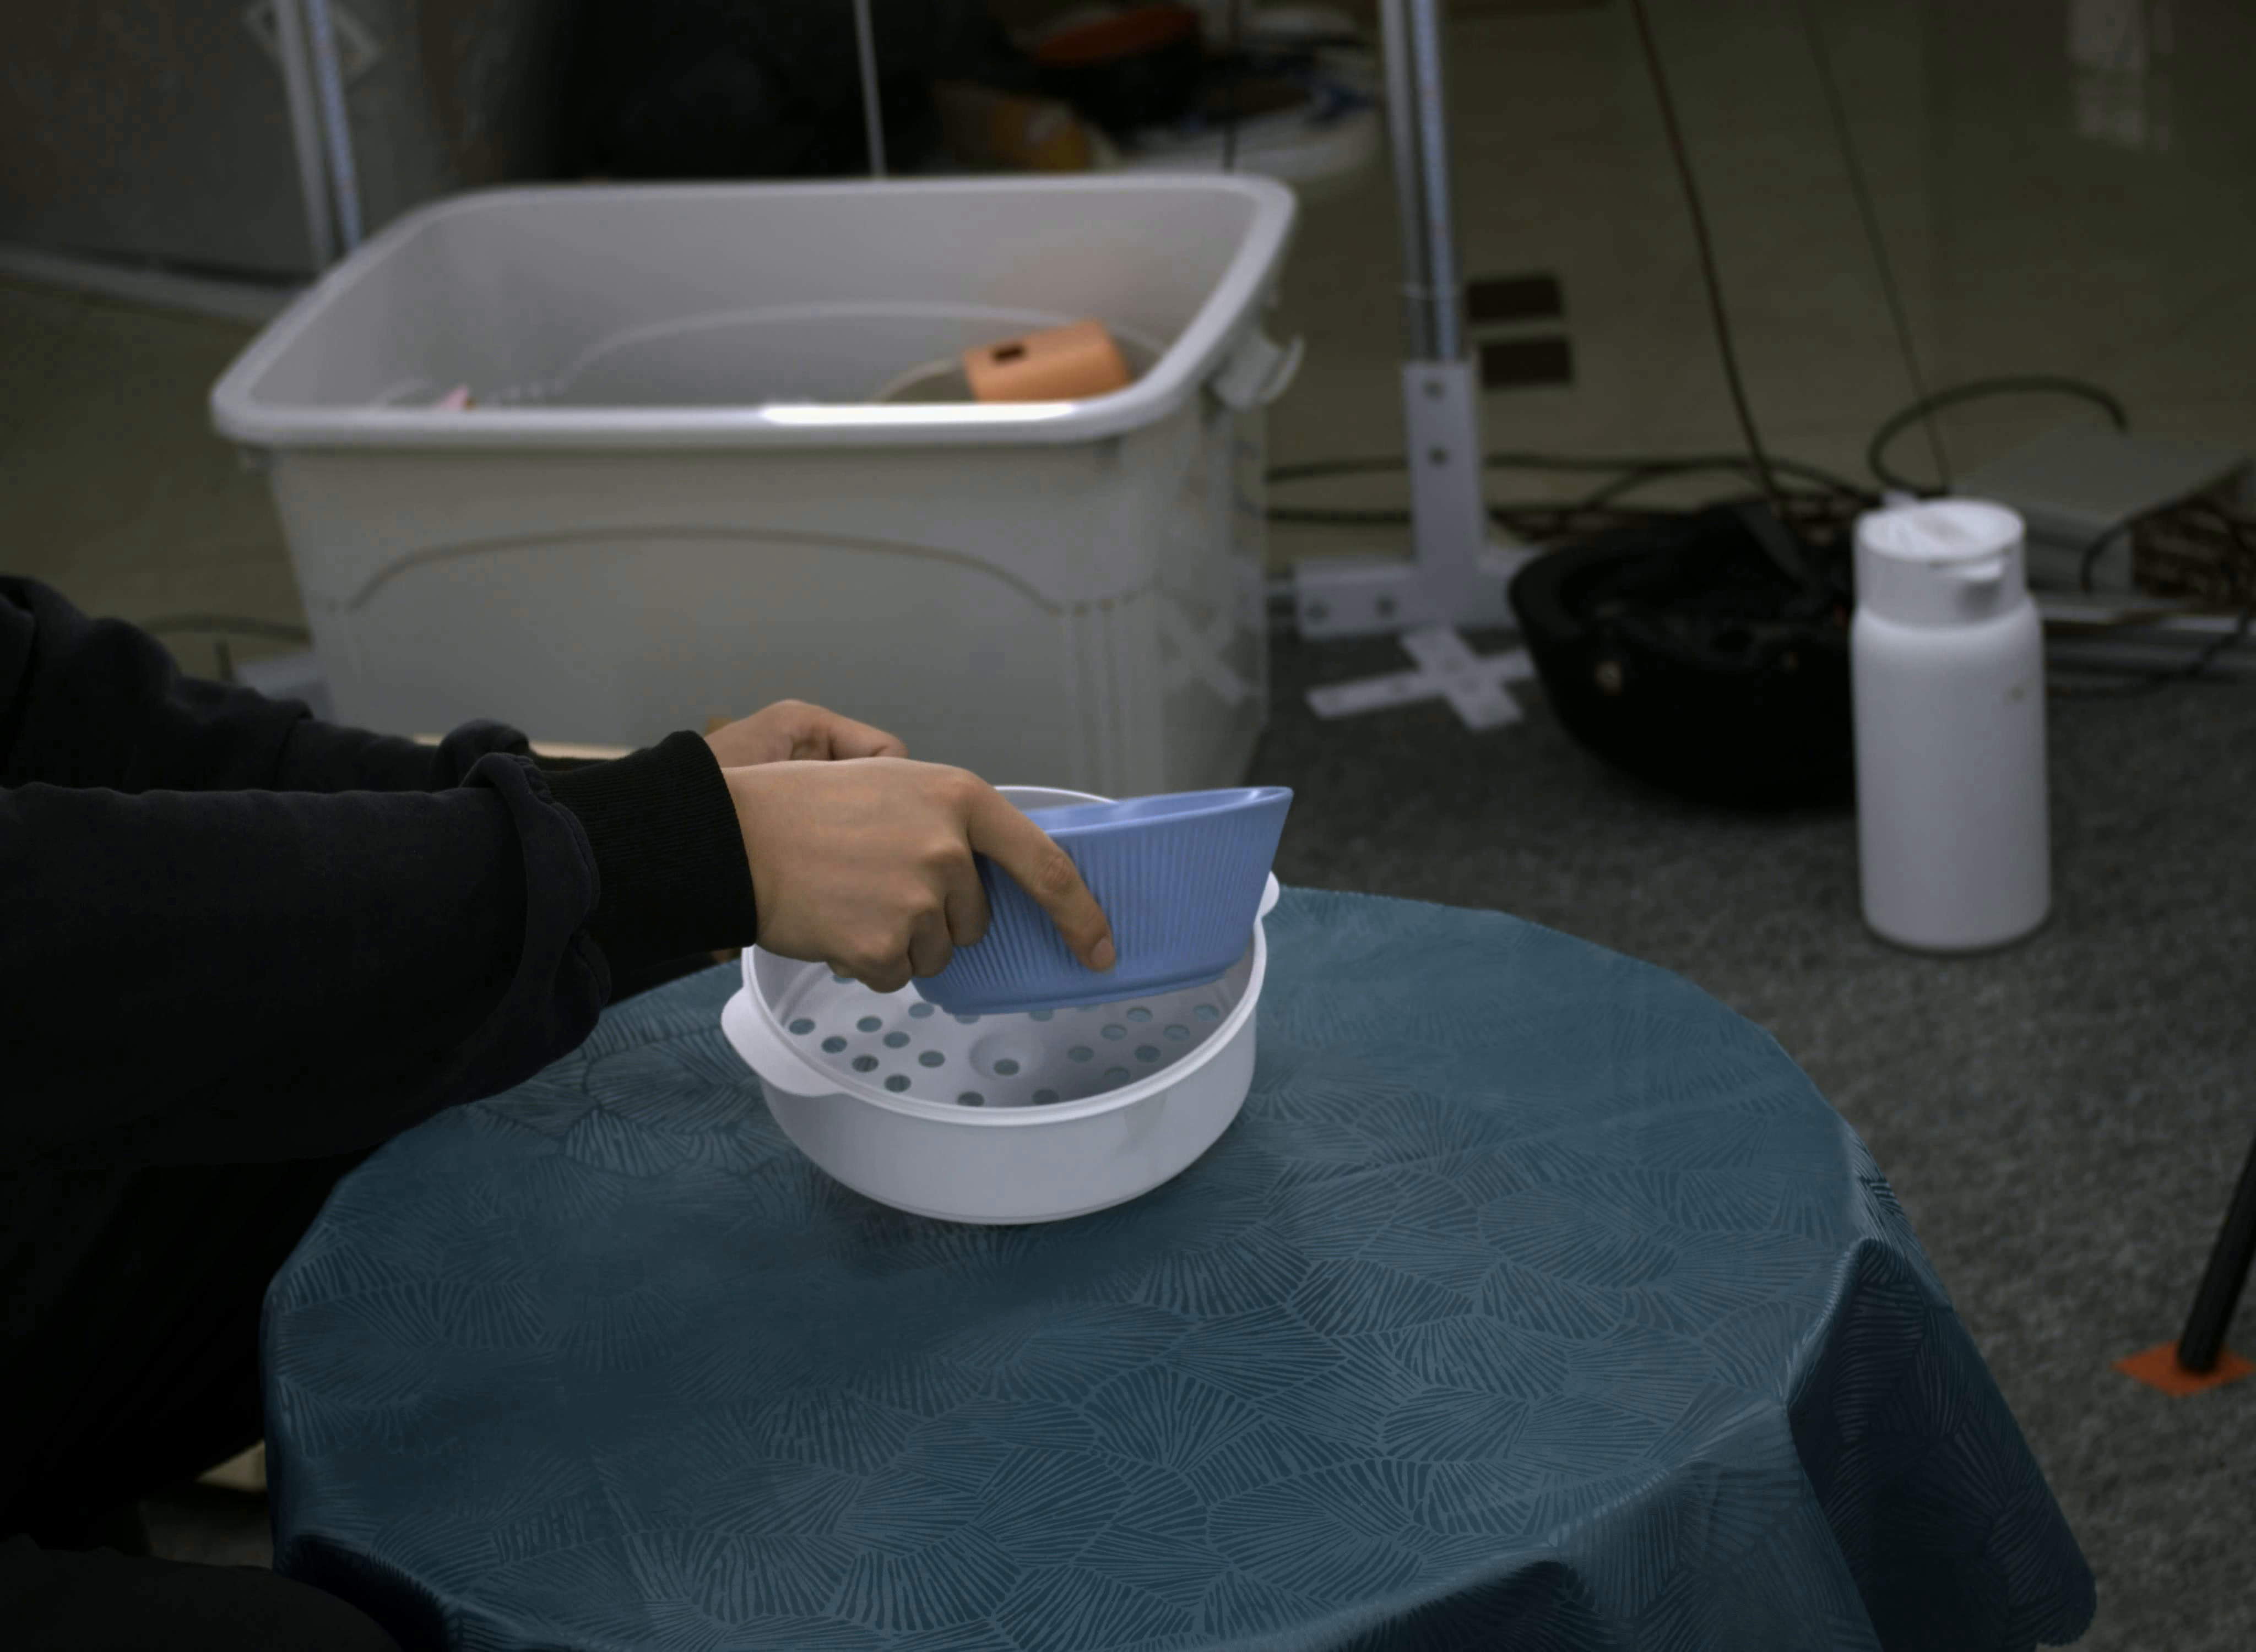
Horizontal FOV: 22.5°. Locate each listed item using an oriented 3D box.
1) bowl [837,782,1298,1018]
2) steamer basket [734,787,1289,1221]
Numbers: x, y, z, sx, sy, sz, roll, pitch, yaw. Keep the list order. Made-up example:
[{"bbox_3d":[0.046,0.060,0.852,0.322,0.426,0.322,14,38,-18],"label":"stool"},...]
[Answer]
[{"bbox_3d":[-0.018,0.030,2.130,0.176,0.070,0.176,-8,1,0],"label":"bowl"},{"bbox_3d":[-0.043,0.069,2.189,0.229,0.070,0.199,-21,43,-27],"label":"steamer basket"}]
